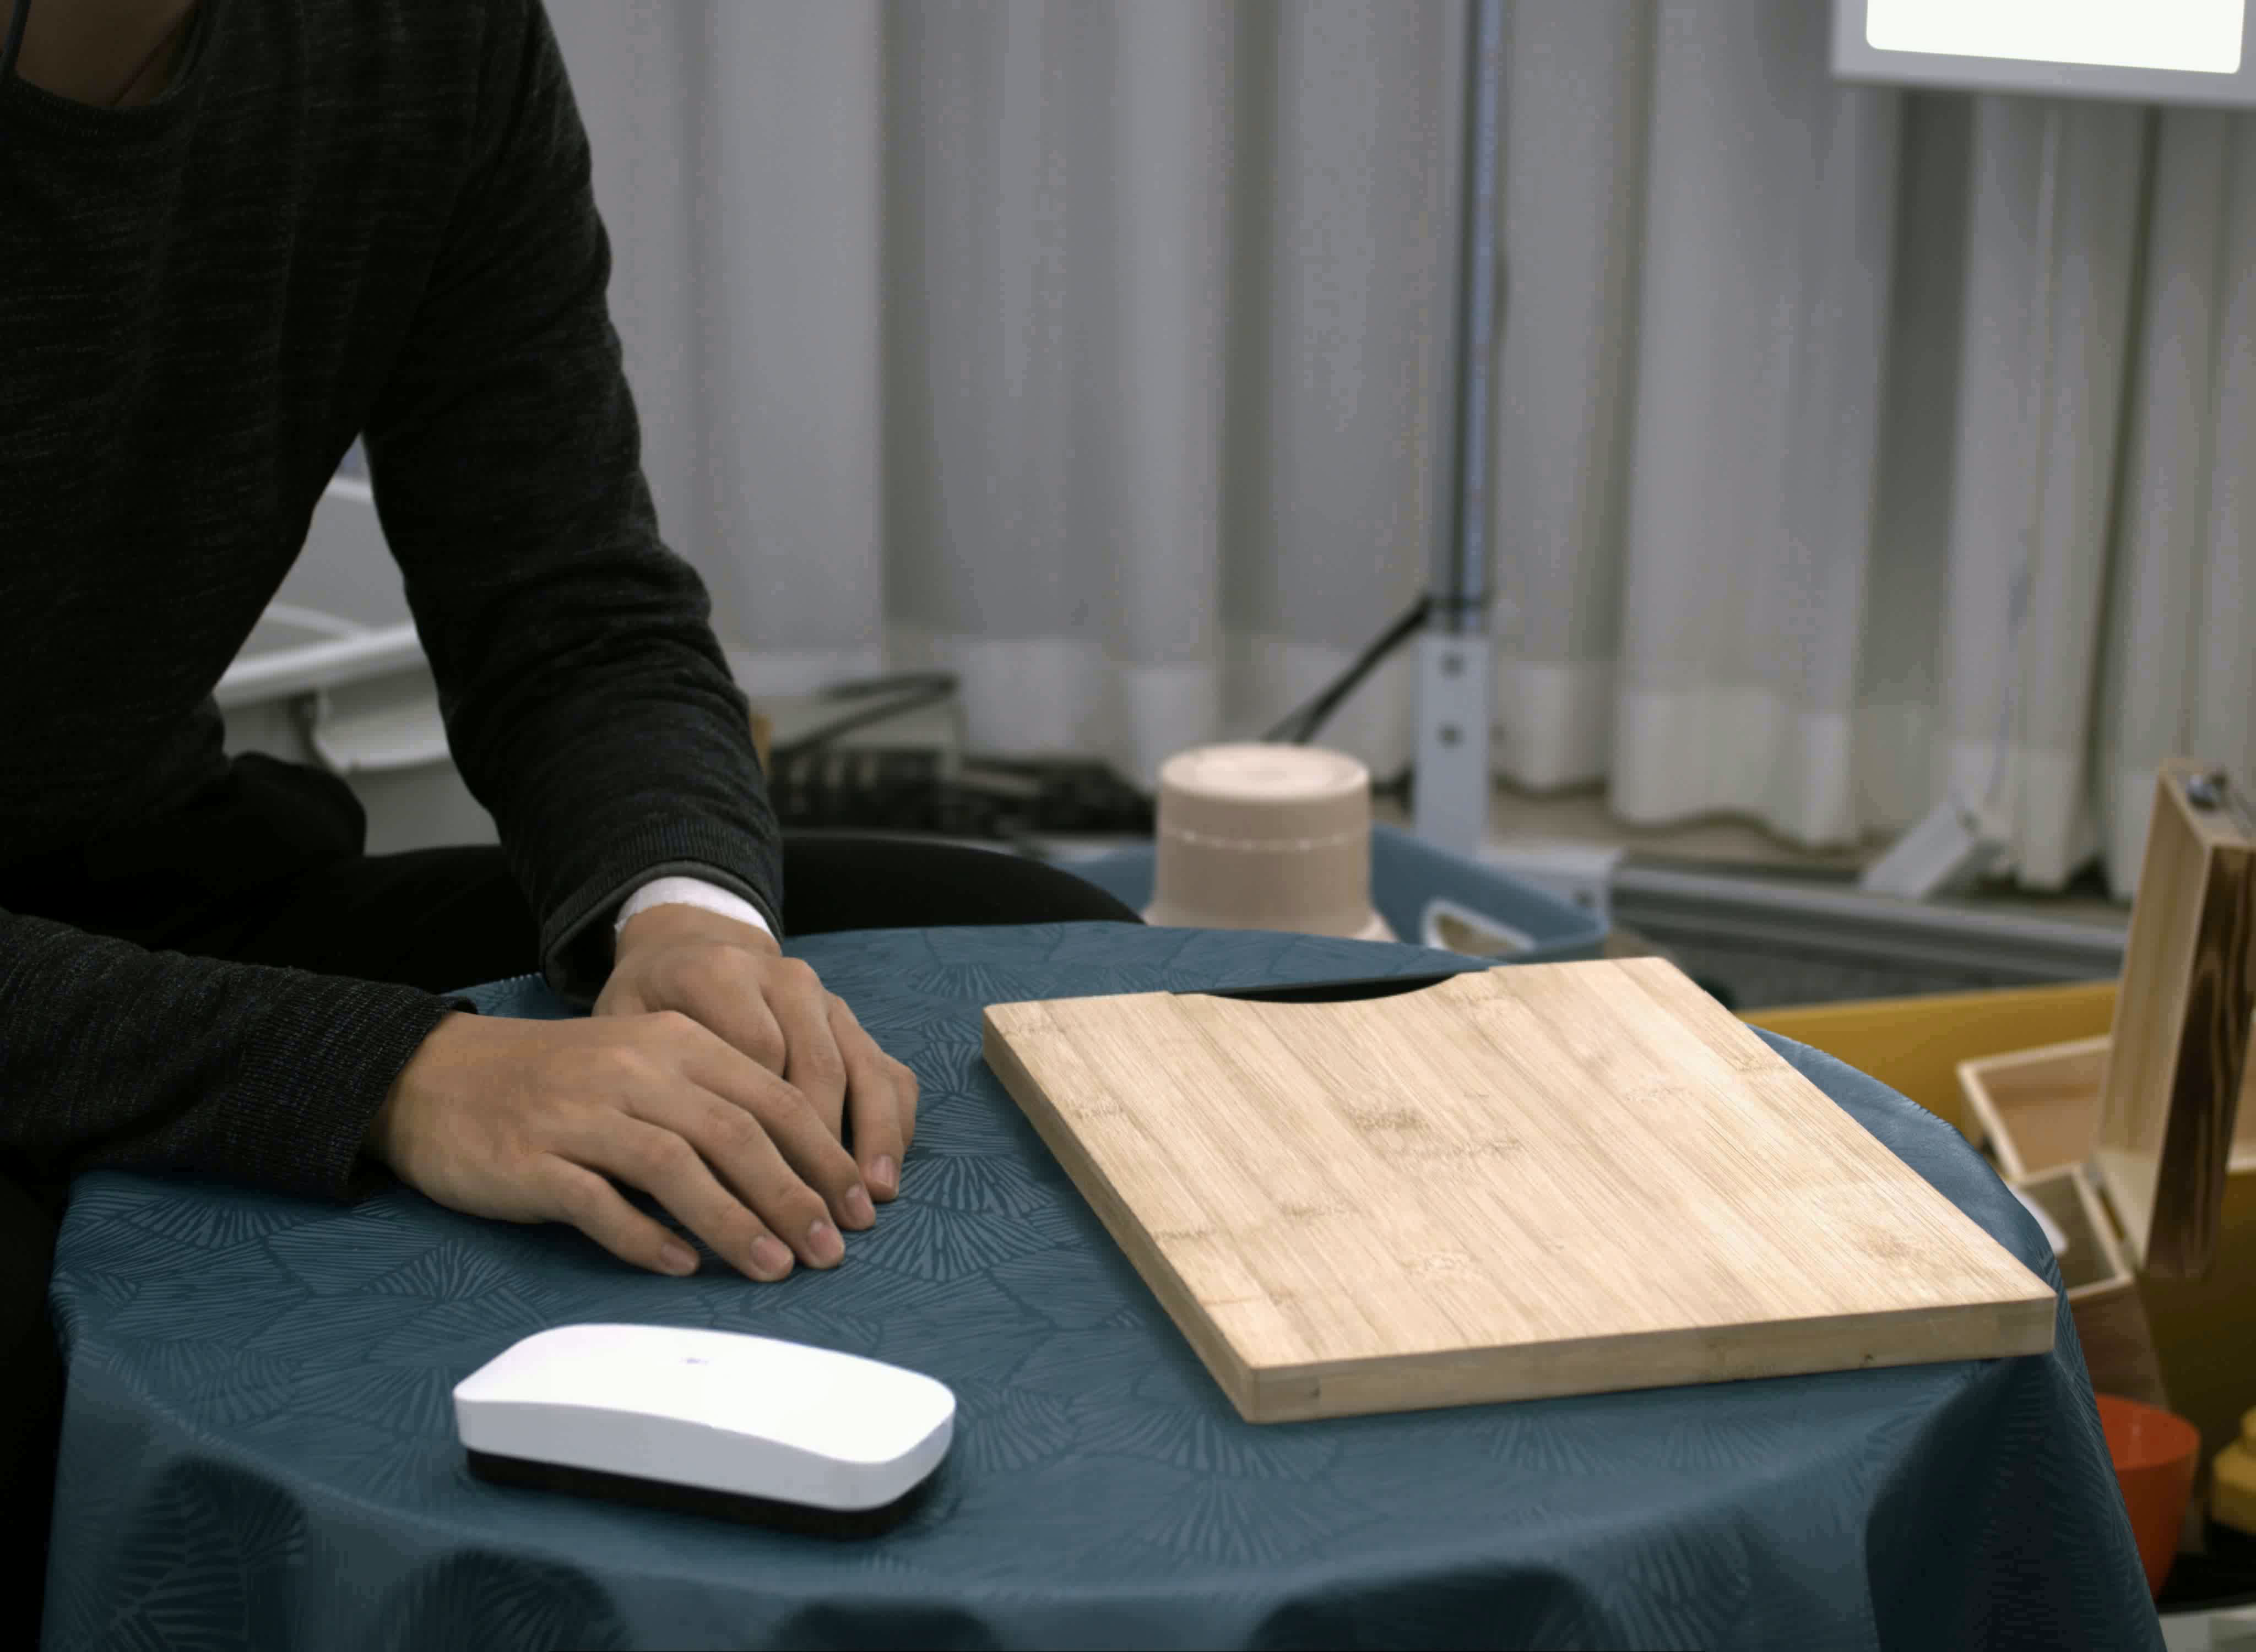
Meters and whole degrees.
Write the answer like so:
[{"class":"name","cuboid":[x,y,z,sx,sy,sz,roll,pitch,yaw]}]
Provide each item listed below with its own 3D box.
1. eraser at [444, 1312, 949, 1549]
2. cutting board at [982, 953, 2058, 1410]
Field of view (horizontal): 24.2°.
[{"class":"eraser","cuboid":[-0.114,0.158,1.395,0.130,0.035,0.063,8,18,21]},{"class":"cutting board","cuboid":[0.107,0.103,1.625,0.251,0.024,0.345,-3,16,-15]}]
